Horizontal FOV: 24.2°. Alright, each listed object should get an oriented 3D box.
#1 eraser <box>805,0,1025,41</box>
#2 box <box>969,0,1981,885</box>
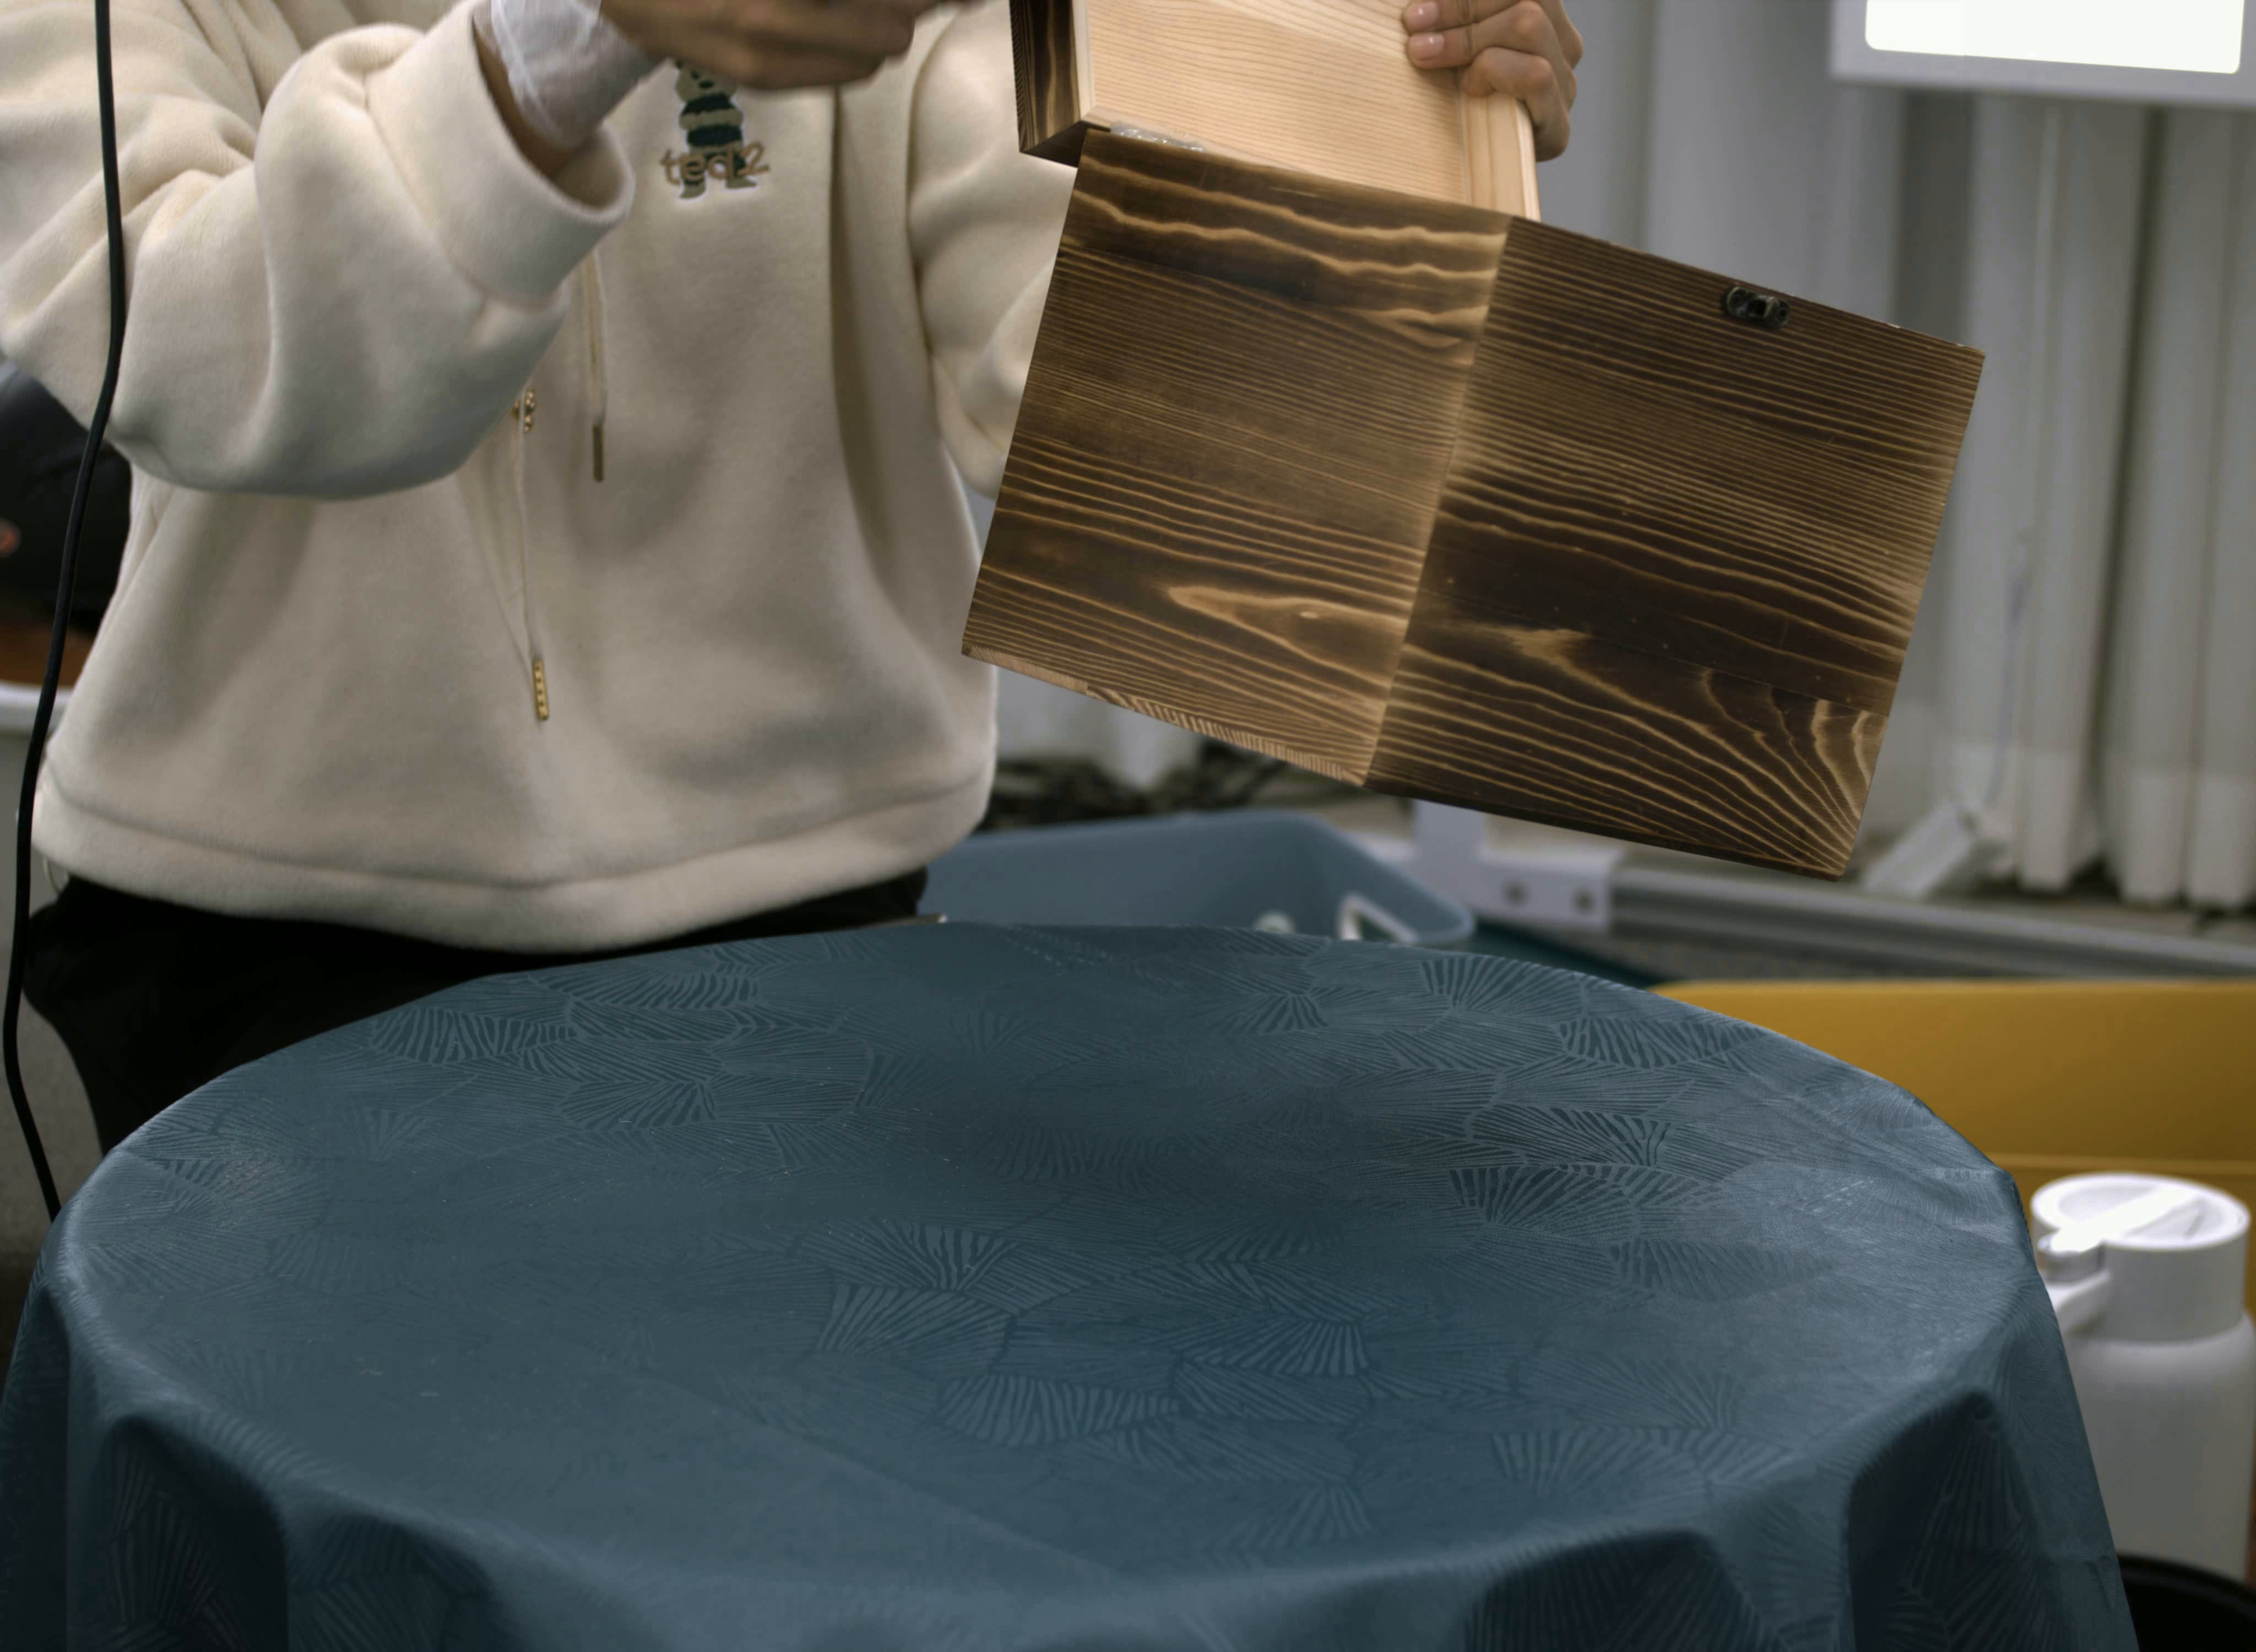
[{"bbox_3d":[-0.043,-0.287,1.633,0.048,0.054,0.160,16,-15,-41],"label":"eraser"},{"bbox_3d":[0.094,-0.202,1.646,0.210,0.377,0.318,10,6,-40],"label":"box"}]
